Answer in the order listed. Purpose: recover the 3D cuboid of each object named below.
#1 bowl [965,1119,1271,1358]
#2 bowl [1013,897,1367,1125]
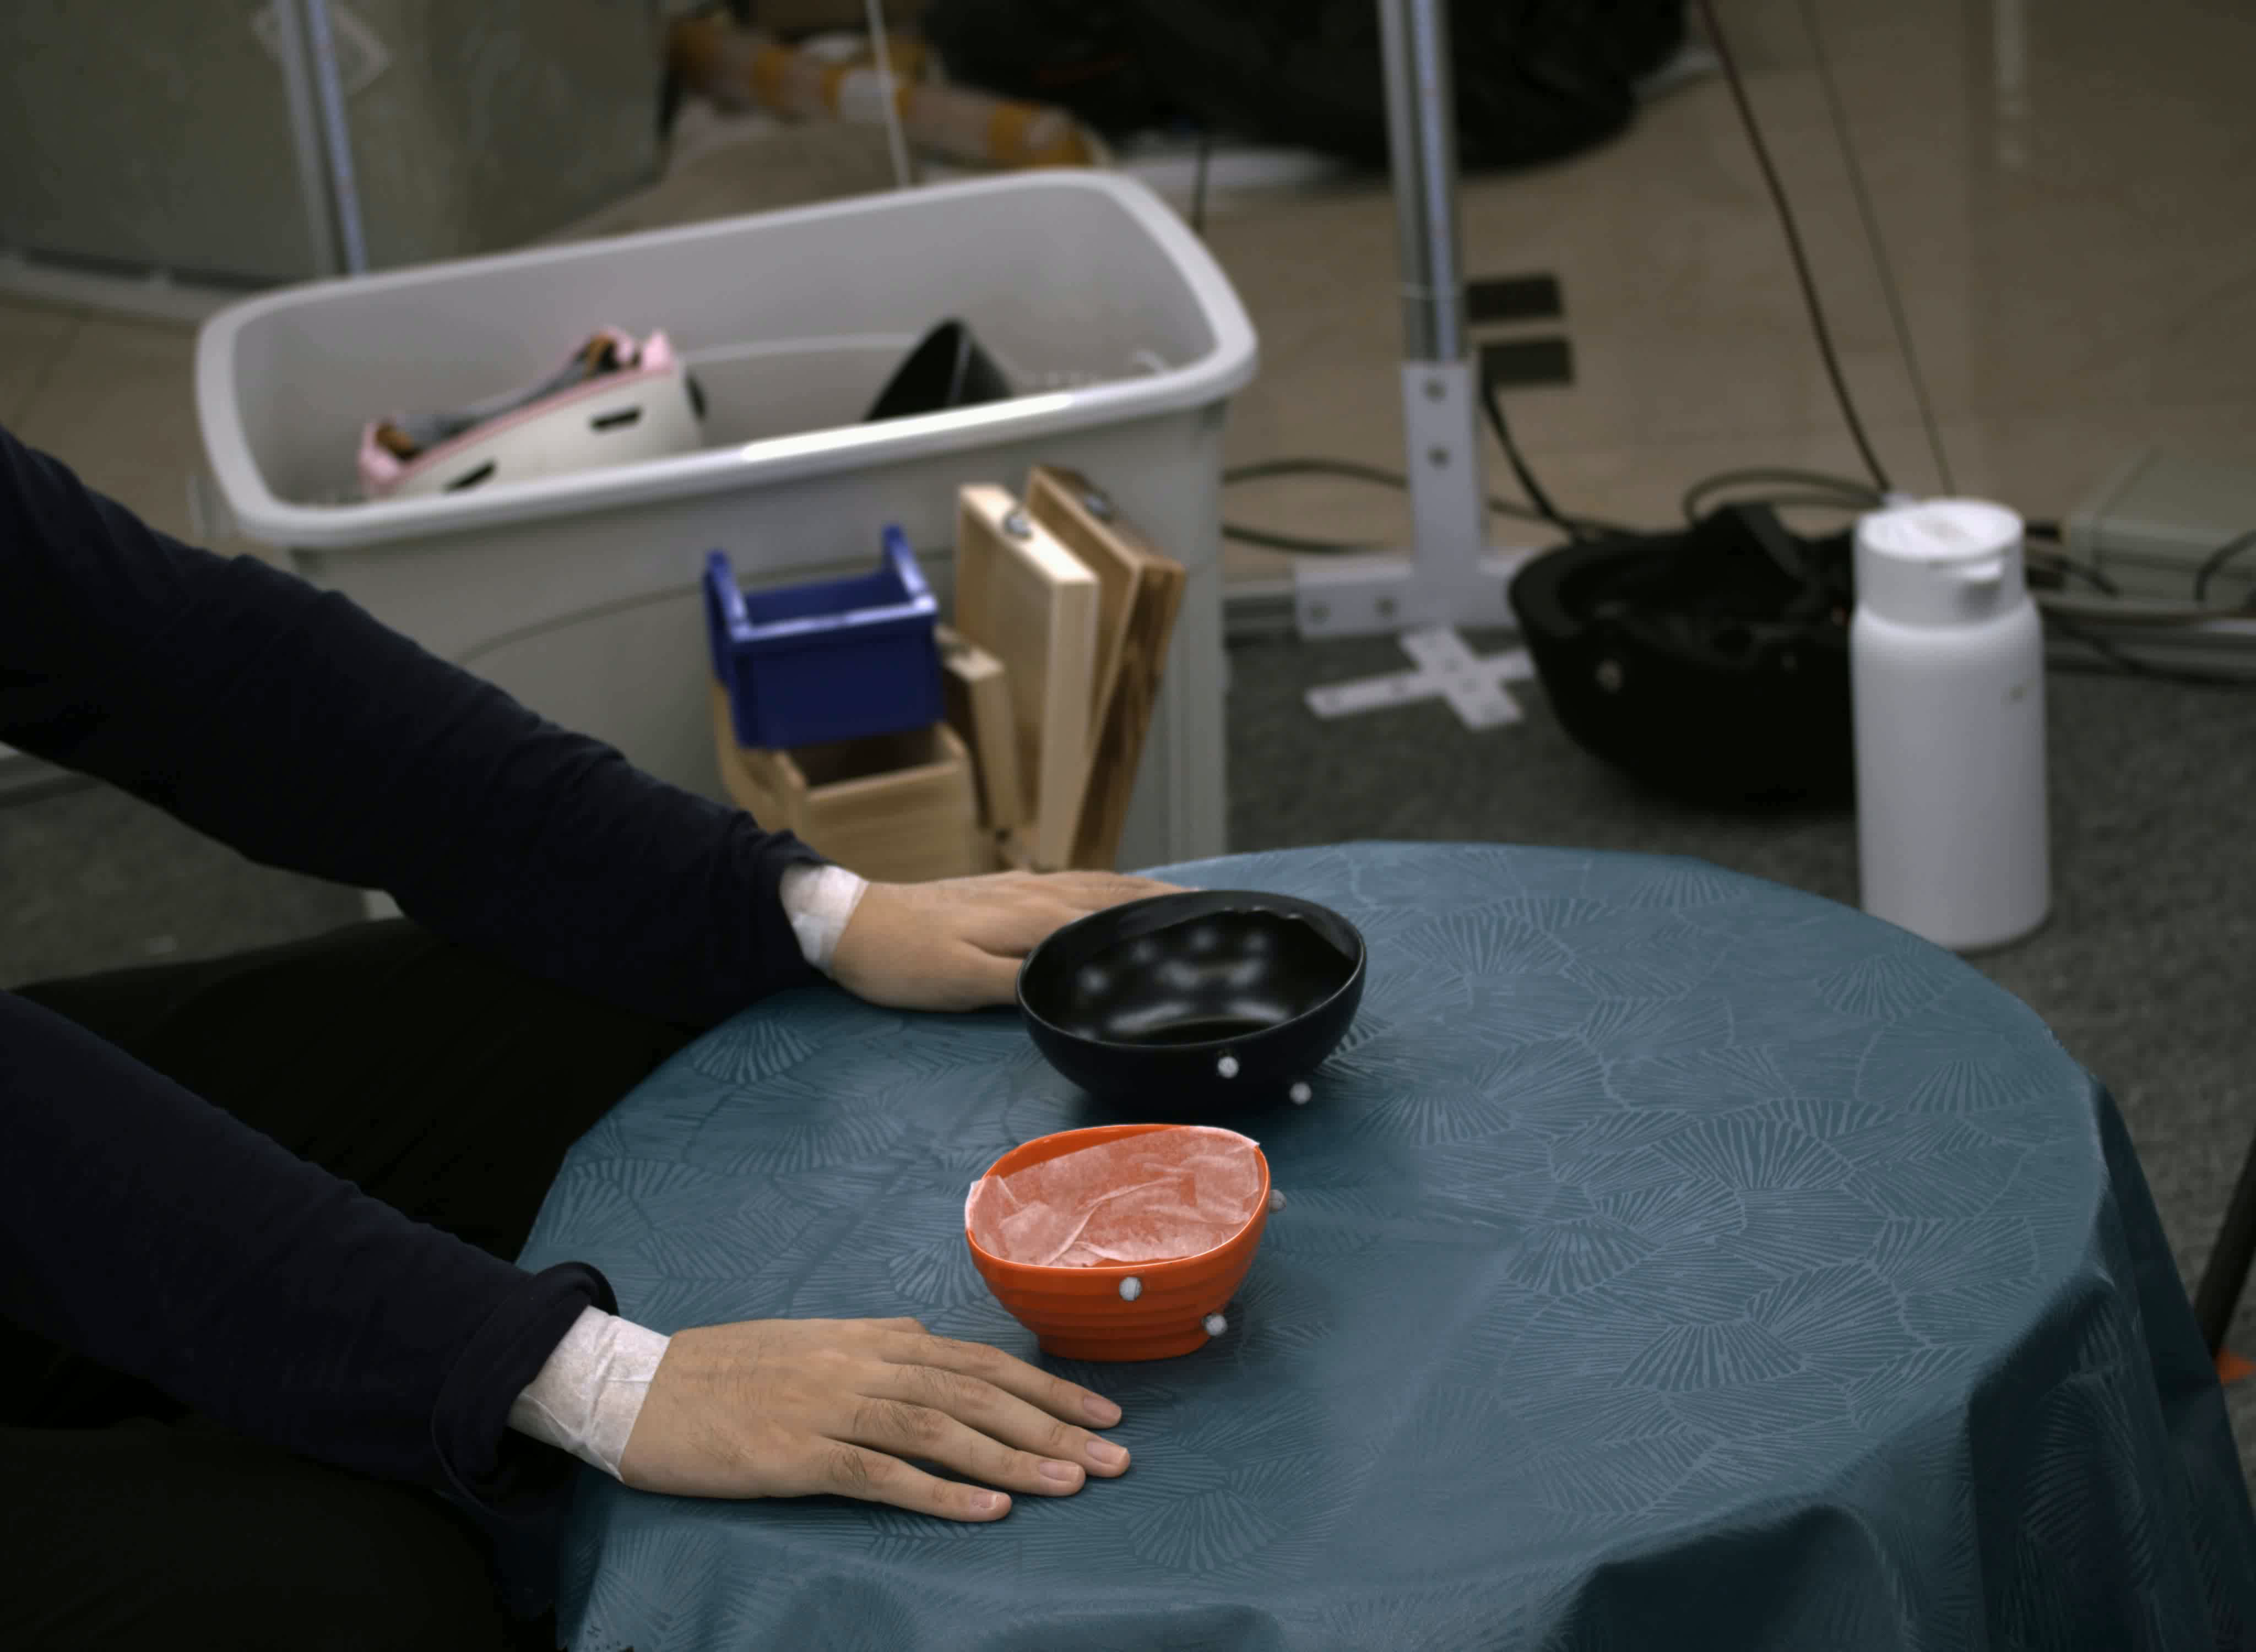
[{"bbox_3d":[-0.002,0.154,2.056,0.119,0.052,0.117,-4,27,2],"label":"bowl"},{"bbox_3d":[0.027,0.079,2.222,0.140,0.050,0.138,-9,24,4],"label":"bowl"}]
